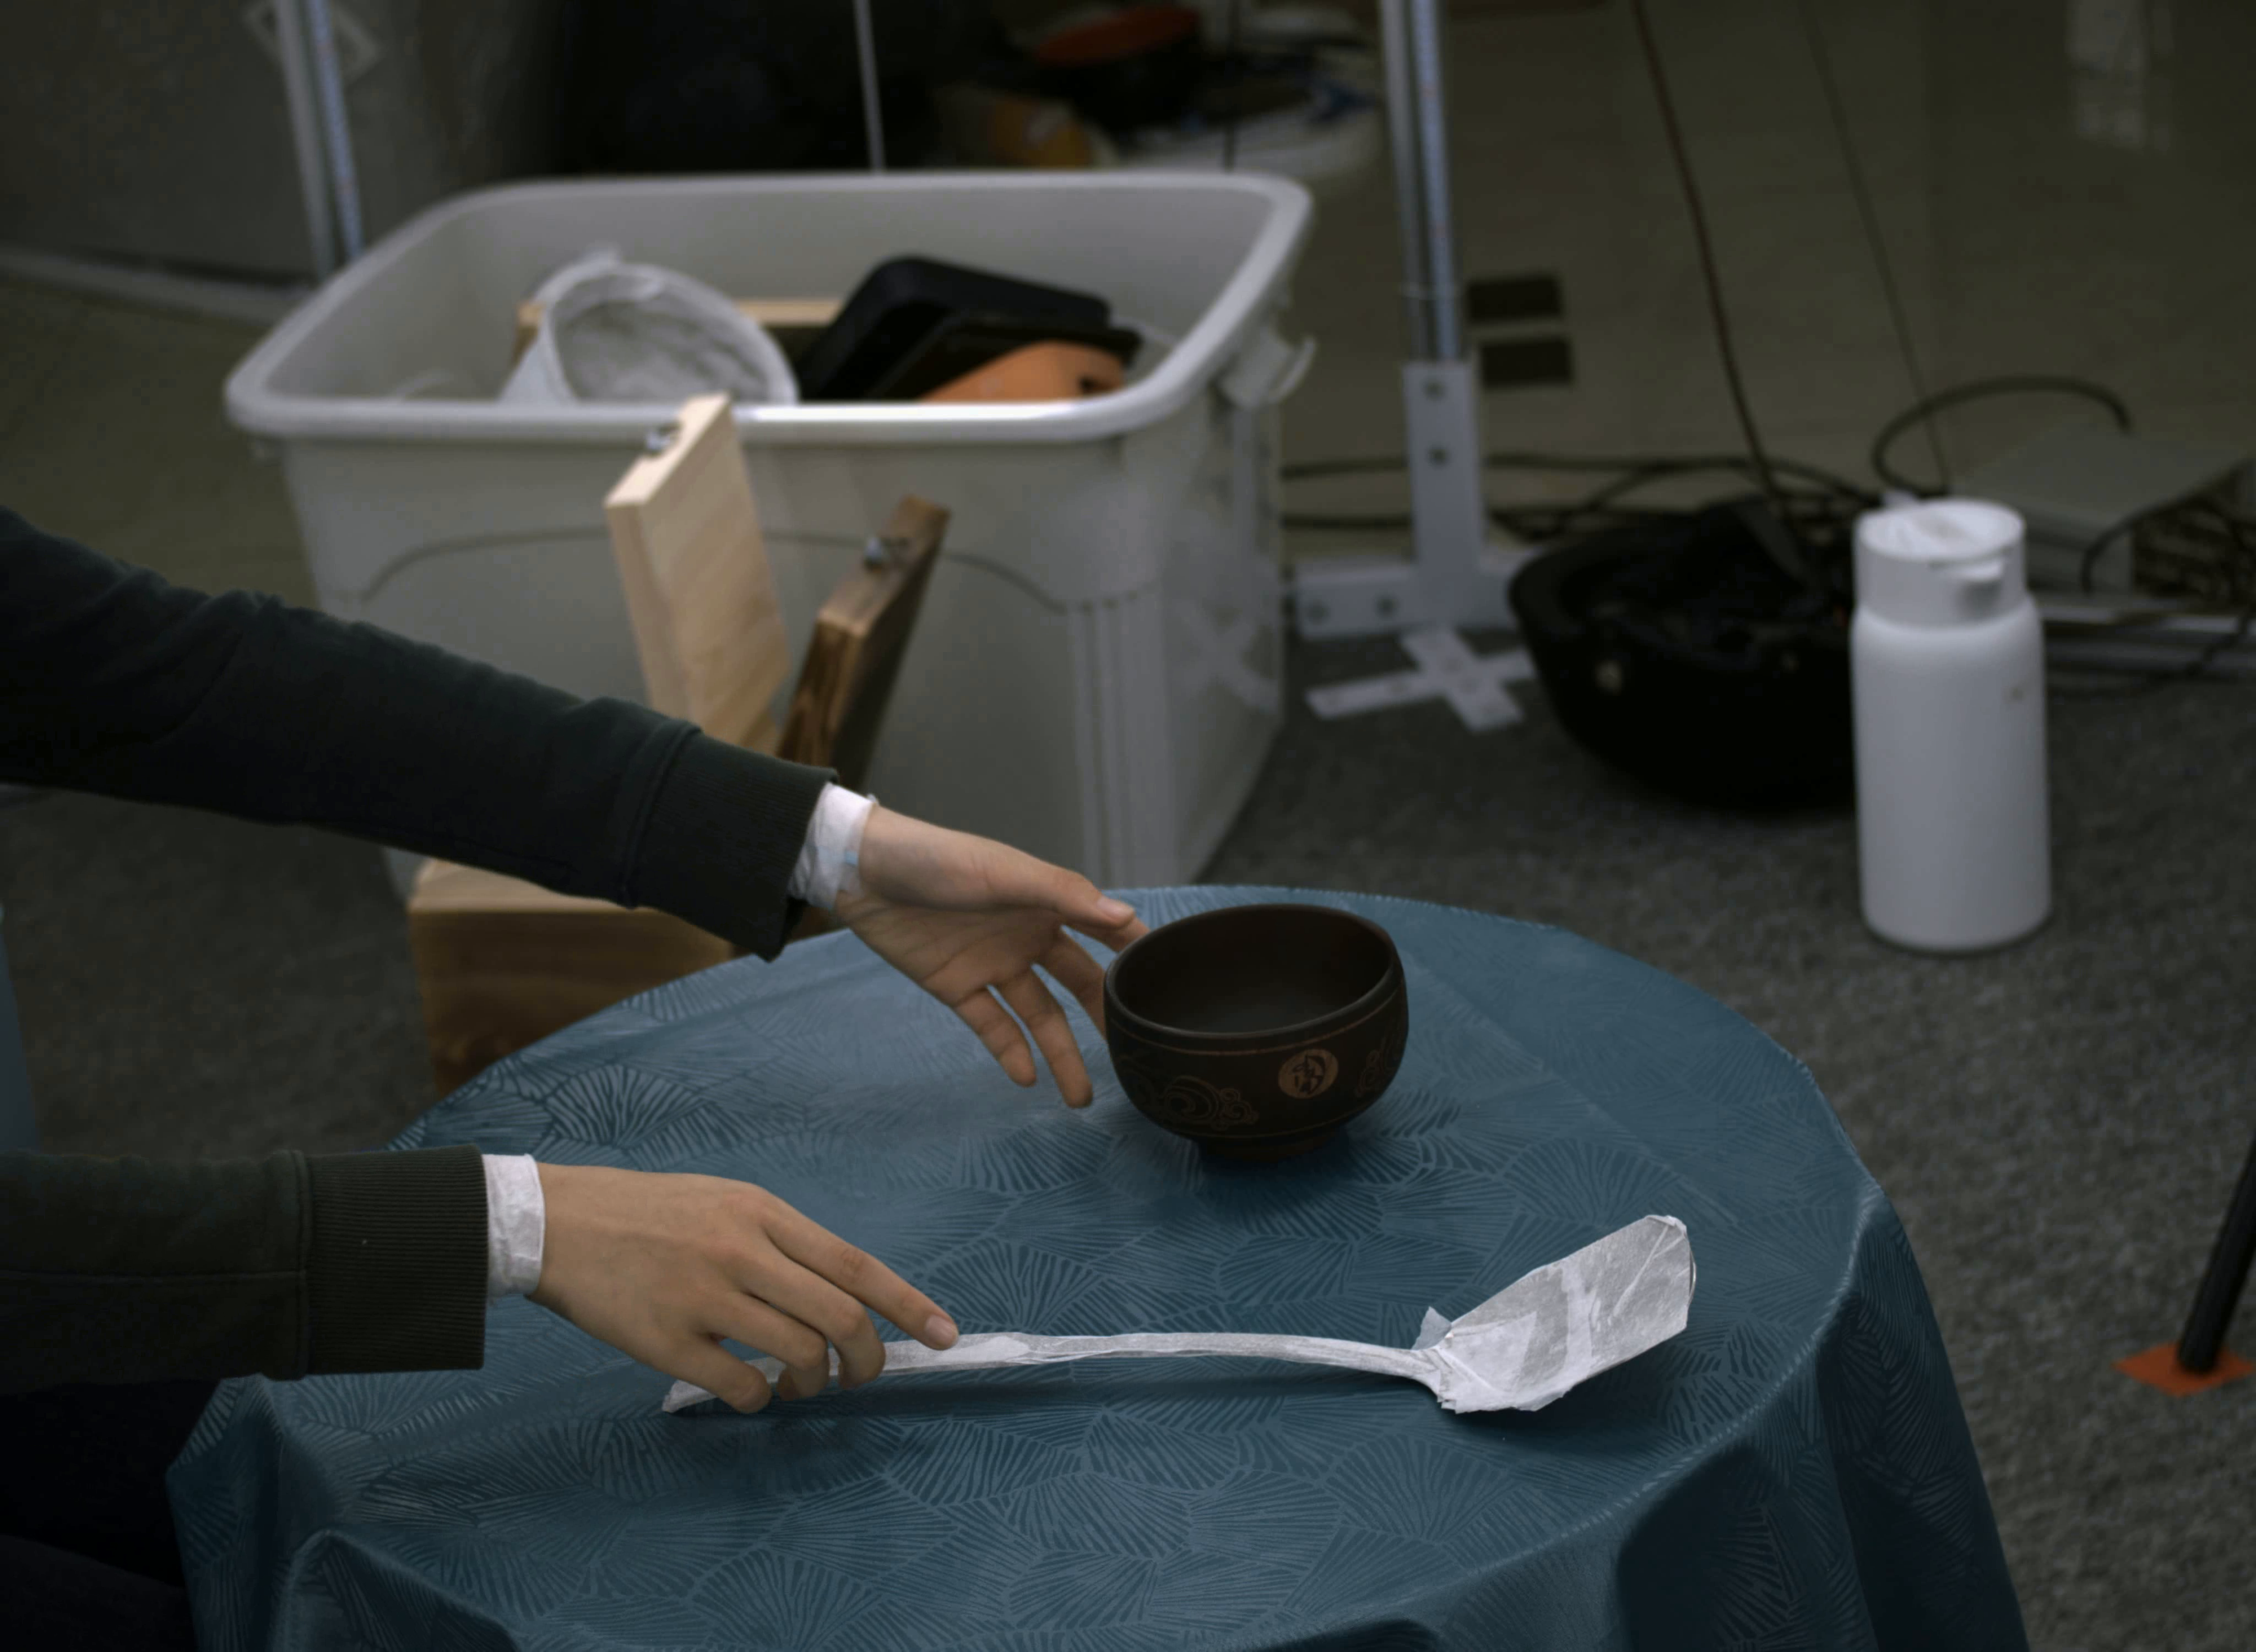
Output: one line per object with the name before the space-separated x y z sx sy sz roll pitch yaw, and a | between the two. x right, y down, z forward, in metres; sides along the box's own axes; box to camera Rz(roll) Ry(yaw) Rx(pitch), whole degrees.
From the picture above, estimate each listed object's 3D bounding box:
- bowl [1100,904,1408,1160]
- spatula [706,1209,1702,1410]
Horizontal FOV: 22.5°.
bowl | 0.050 0.085 2.172 0.118 0.071 0.116 -6 23 3
spatula | 0.022 0.180 2.014 0.364 0.045 0.097 -2 27 9
